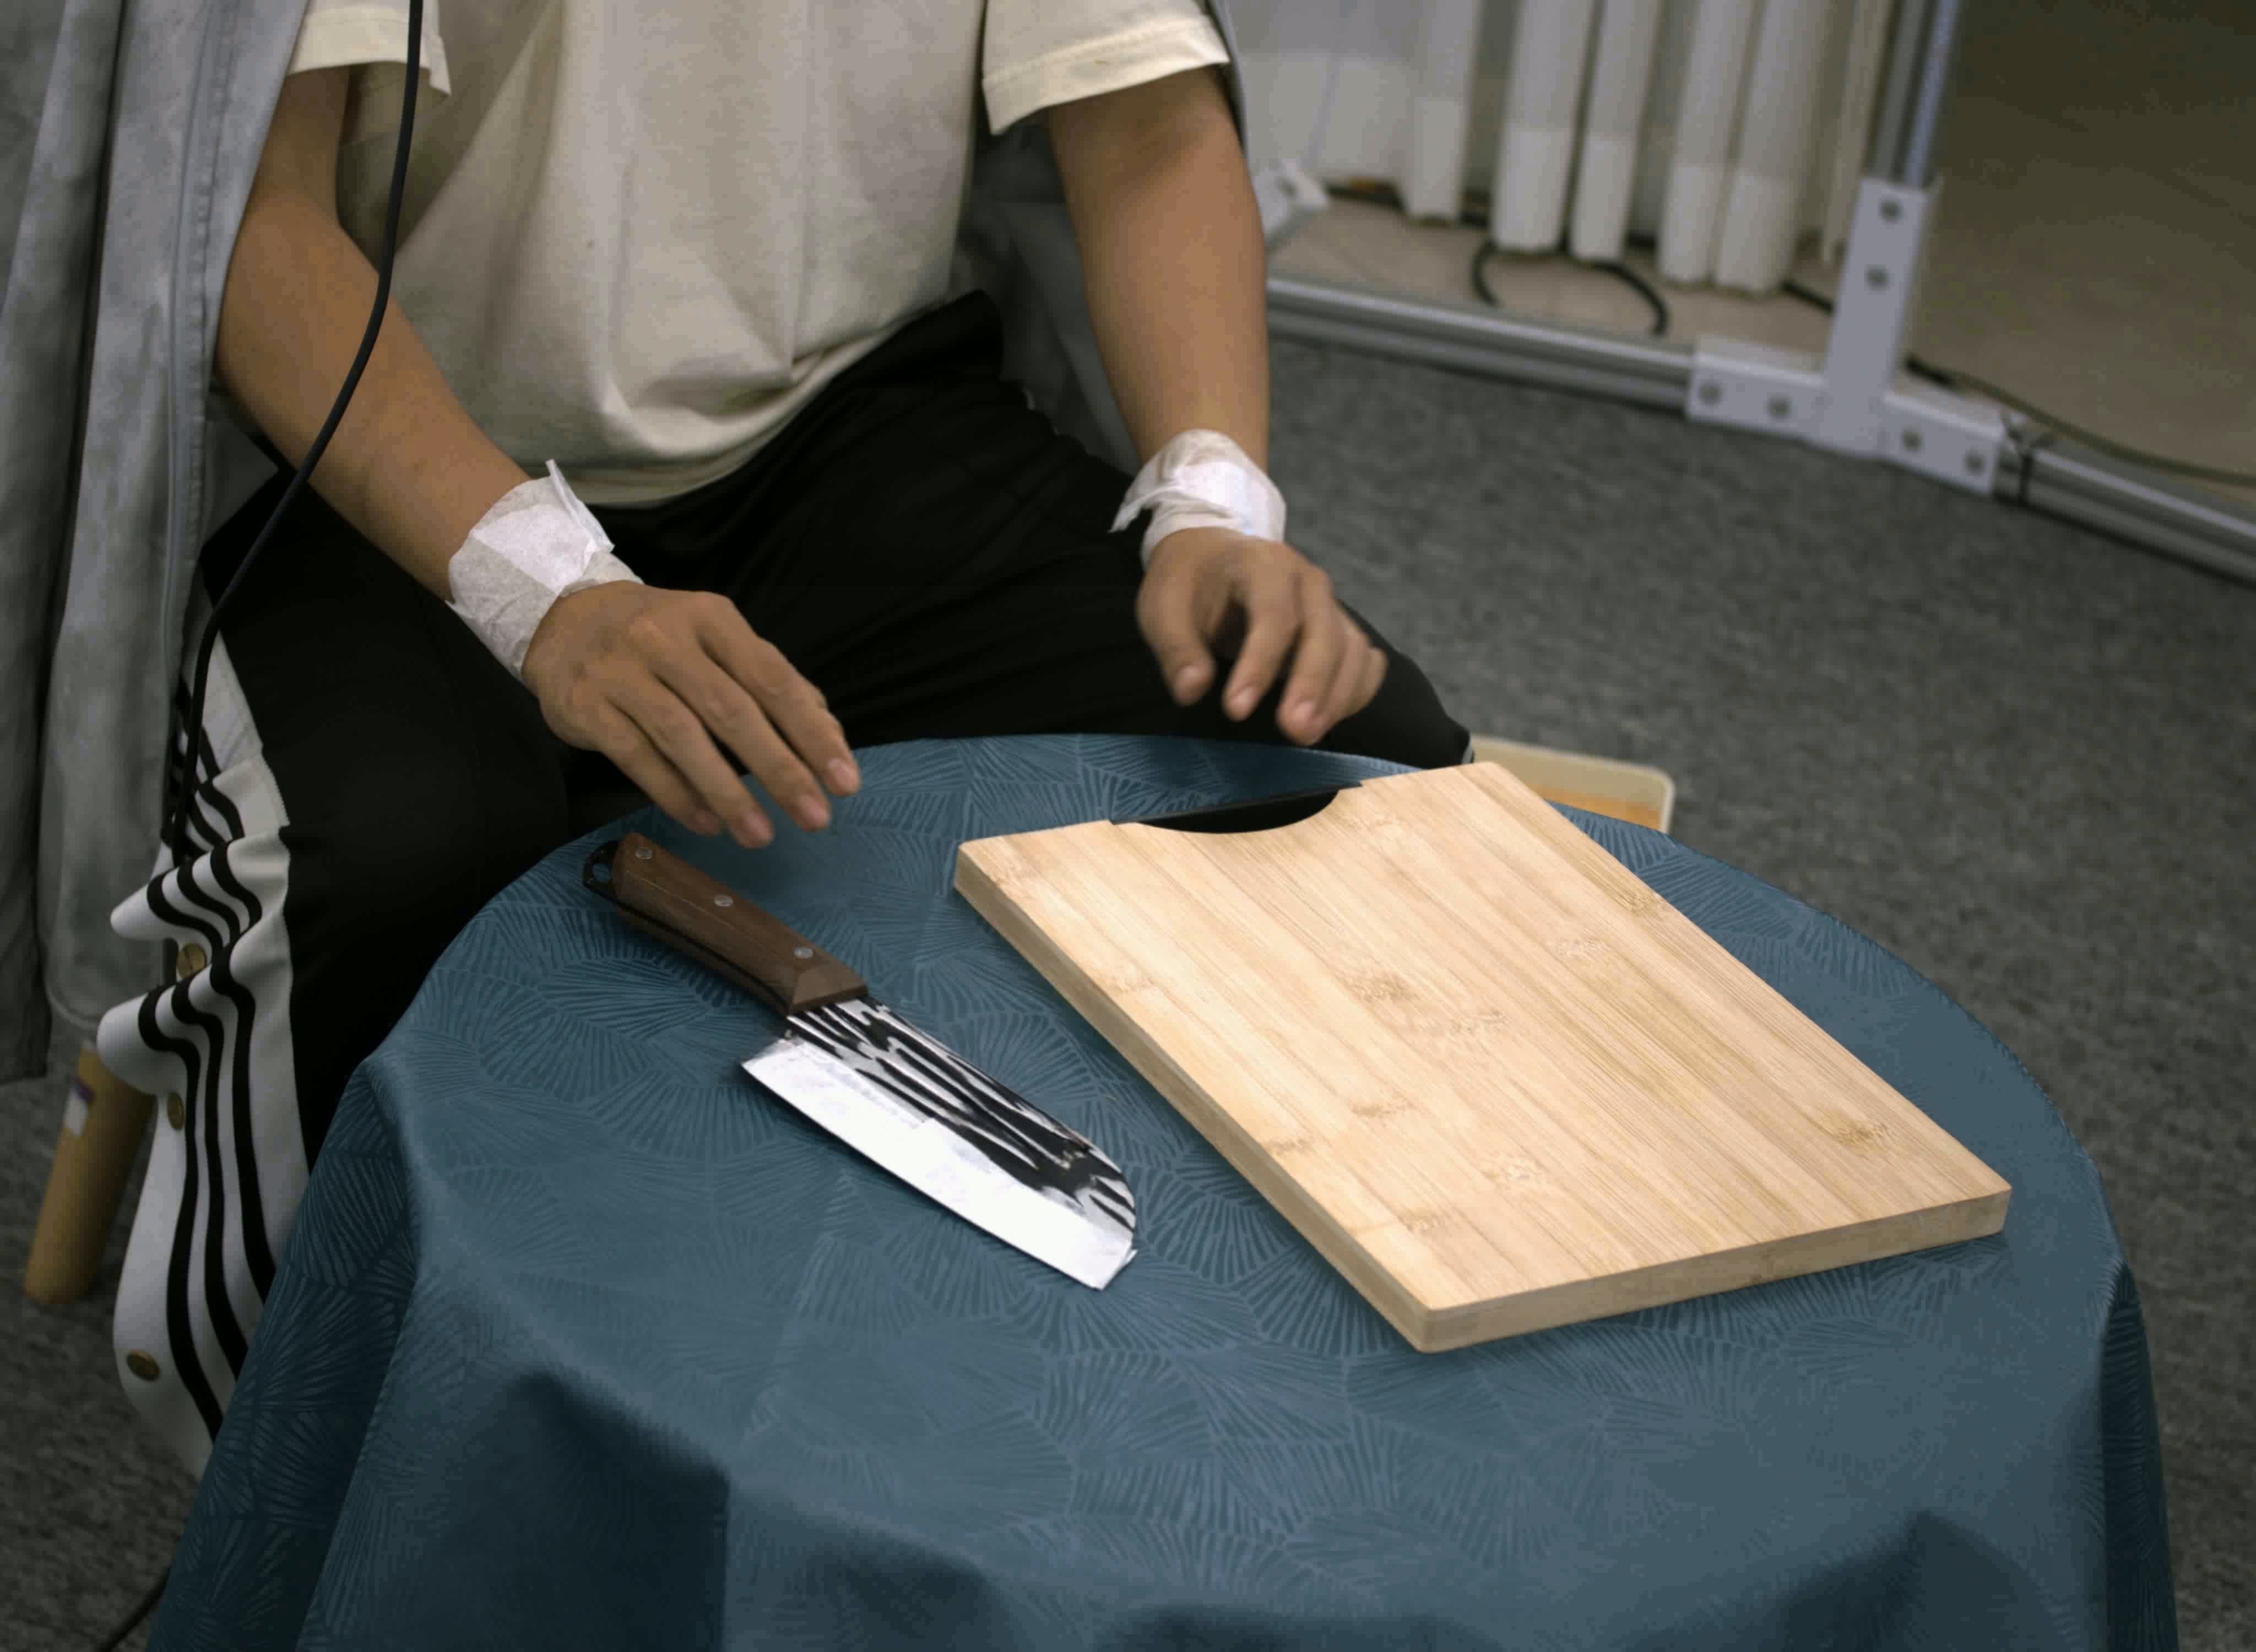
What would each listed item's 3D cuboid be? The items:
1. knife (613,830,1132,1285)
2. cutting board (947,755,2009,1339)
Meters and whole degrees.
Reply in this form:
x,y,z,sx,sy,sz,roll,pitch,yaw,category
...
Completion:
x,y,z,sx,sy,sz,roll,pitch,yaw,category
-0.097,0.079,1.848,0.068,0.024,0.302,-21,40,-39,knife
0.118,0.072,1.916,0.249,0.023,0.352,-9,31,-29,cutting board
